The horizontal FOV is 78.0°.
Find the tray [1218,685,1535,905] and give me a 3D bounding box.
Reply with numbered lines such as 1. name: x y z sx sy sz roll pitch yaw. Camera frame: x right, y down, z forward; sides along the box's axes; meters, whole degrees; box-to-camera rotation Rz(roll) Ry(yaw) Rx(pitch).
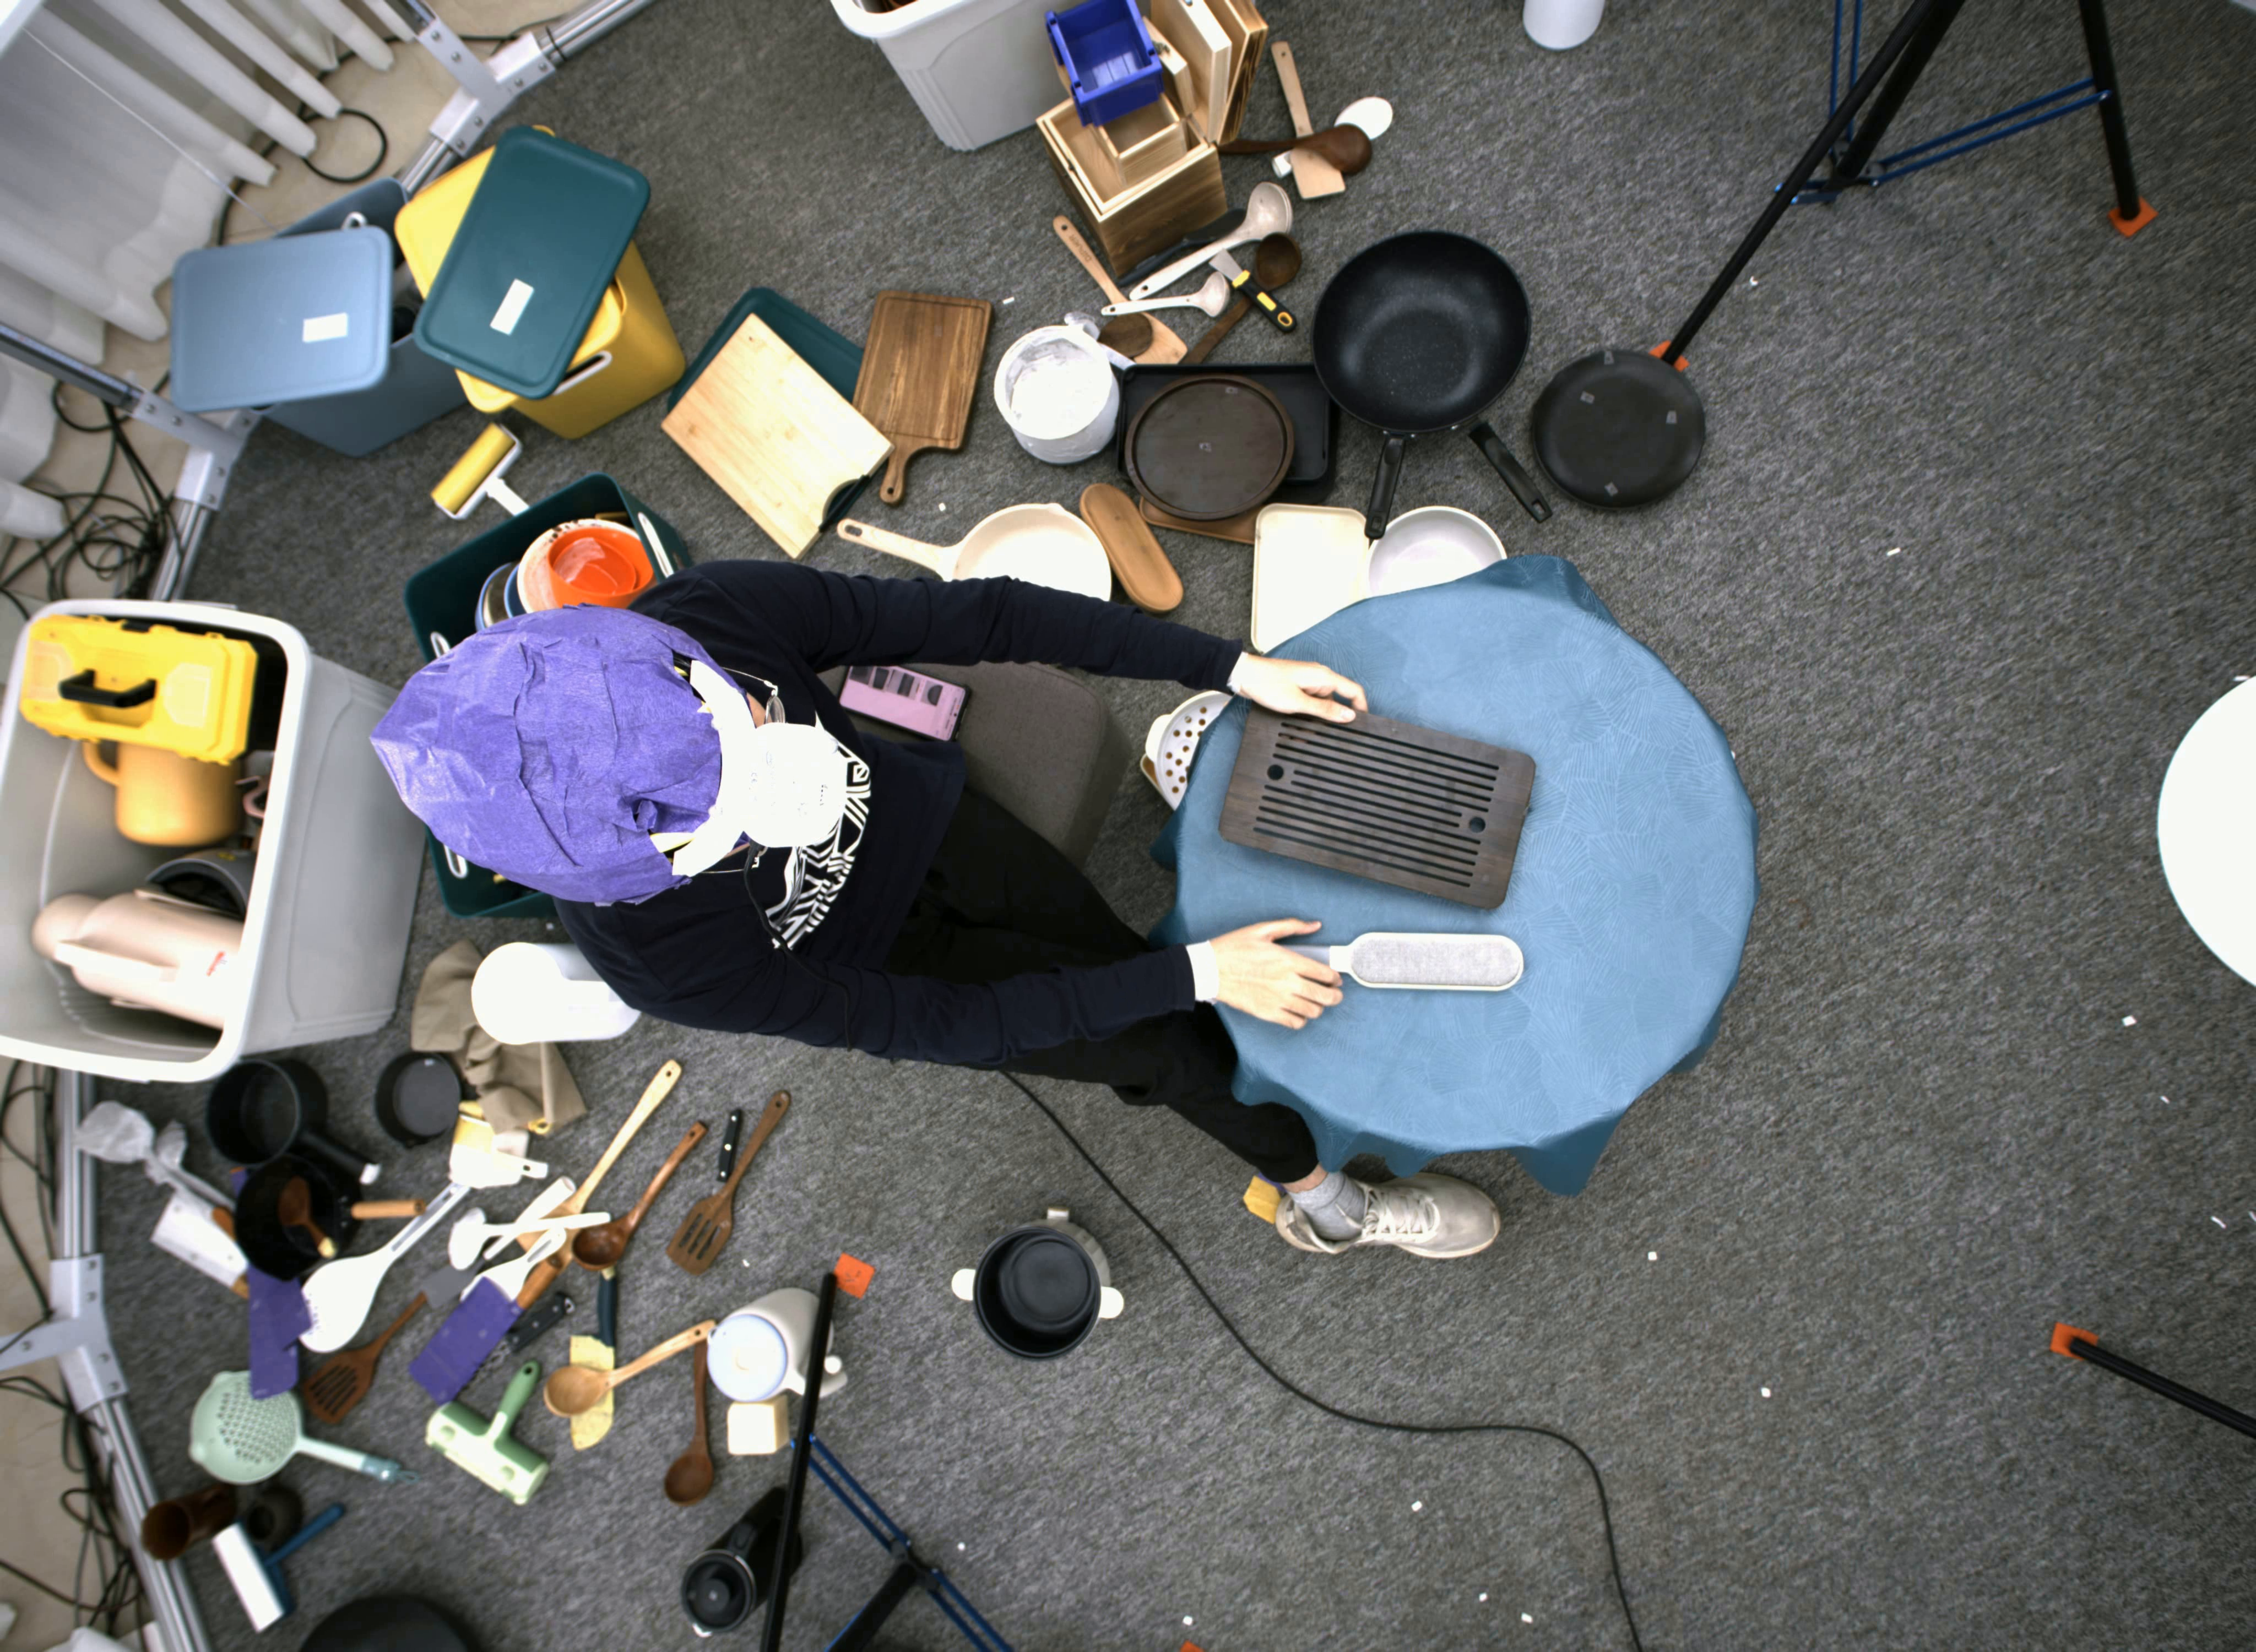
1. tray: 0.259 -0.034 1.441 0.306 0.018 0.169 14 87 5

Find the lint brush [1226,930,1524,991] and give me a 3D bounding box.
1. lint brush: 0.256 0.137 1.446 0.310 0.021 0.060 1 92 11
